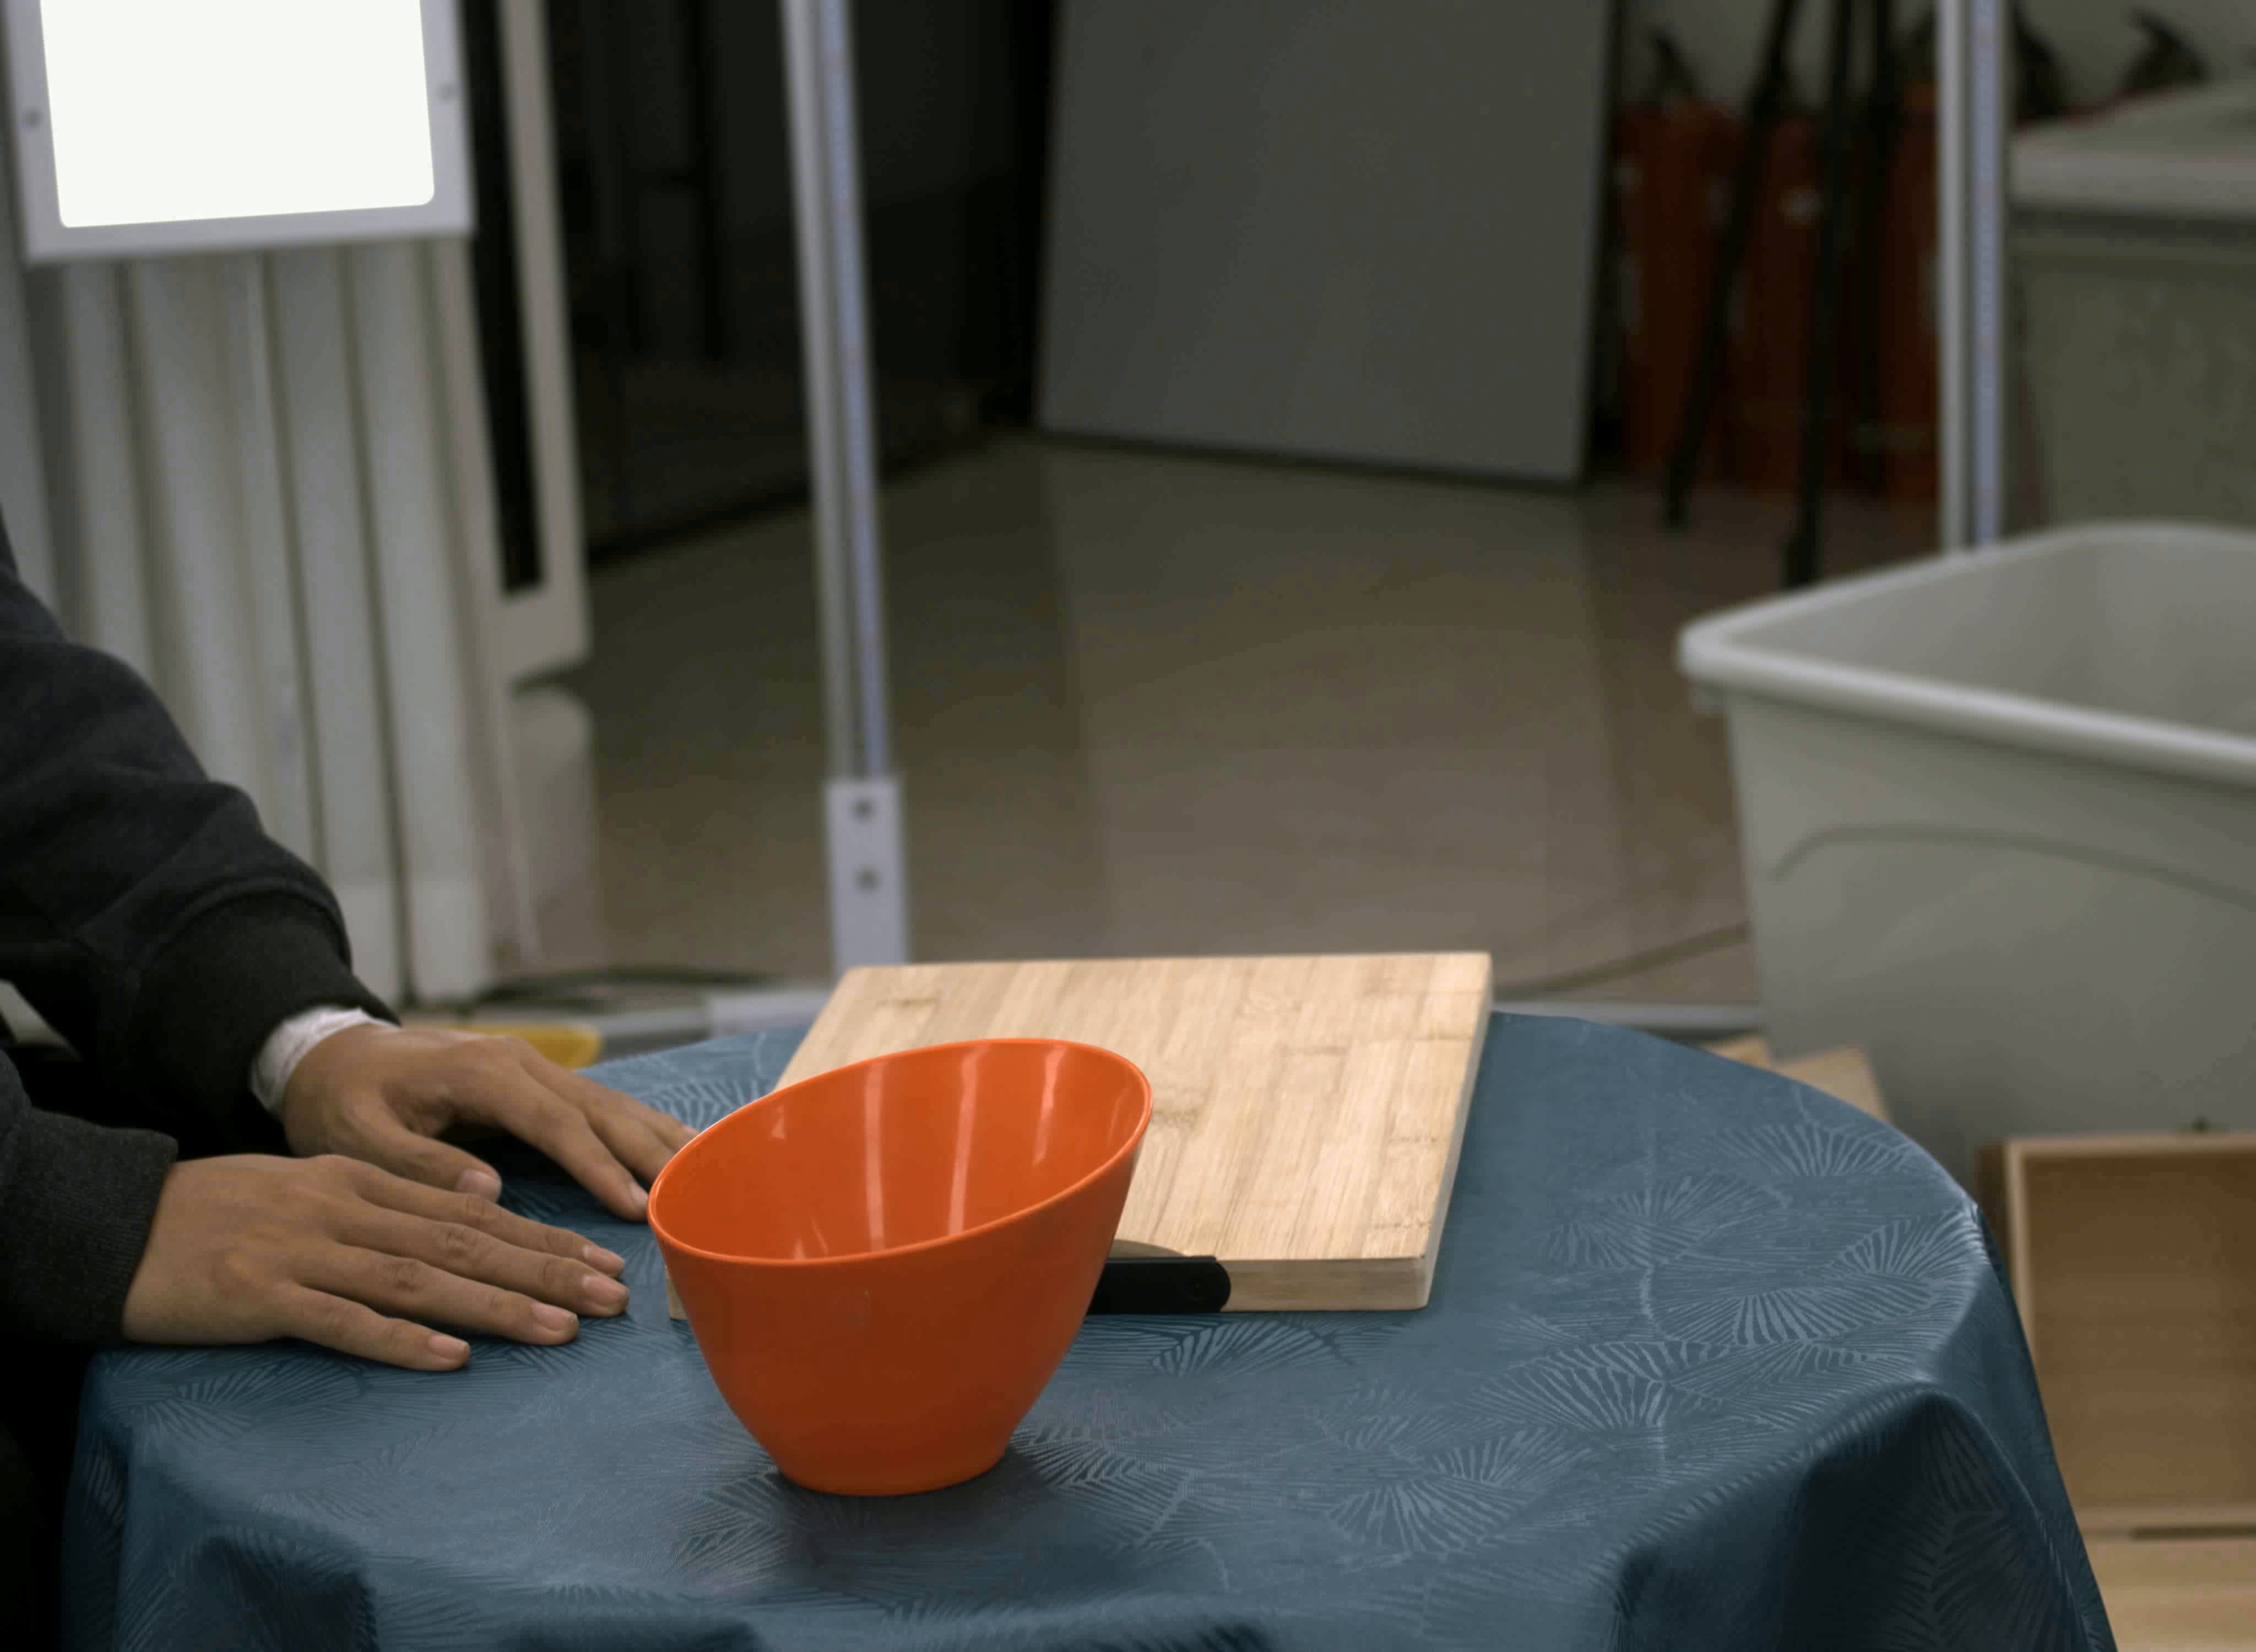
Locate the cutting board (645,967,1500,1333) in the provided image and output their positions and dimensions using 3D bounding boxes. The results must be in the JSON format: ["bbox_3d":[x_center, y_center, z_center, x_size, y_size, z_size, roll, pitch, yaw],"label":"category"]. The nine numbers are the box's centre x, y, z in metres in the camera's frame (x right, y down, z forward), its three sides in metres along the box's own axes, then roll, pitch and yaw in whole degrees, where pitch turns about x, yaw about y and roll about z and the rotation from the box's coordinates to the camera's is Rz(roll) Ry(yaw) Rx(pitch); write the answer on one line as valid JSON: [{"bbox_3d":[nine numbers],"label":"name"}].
[{"bbox_3d":[-0.007,0.104,1.808,0.248,0.024,0.347,-3,13,8],"label":"cutting board"}]

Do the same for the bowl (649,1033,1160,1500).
[{"bbox_3d":[-0.061,0.129,1.537,0.146,0.106,0.148,-2,15,0],"label":"bowl"}]
